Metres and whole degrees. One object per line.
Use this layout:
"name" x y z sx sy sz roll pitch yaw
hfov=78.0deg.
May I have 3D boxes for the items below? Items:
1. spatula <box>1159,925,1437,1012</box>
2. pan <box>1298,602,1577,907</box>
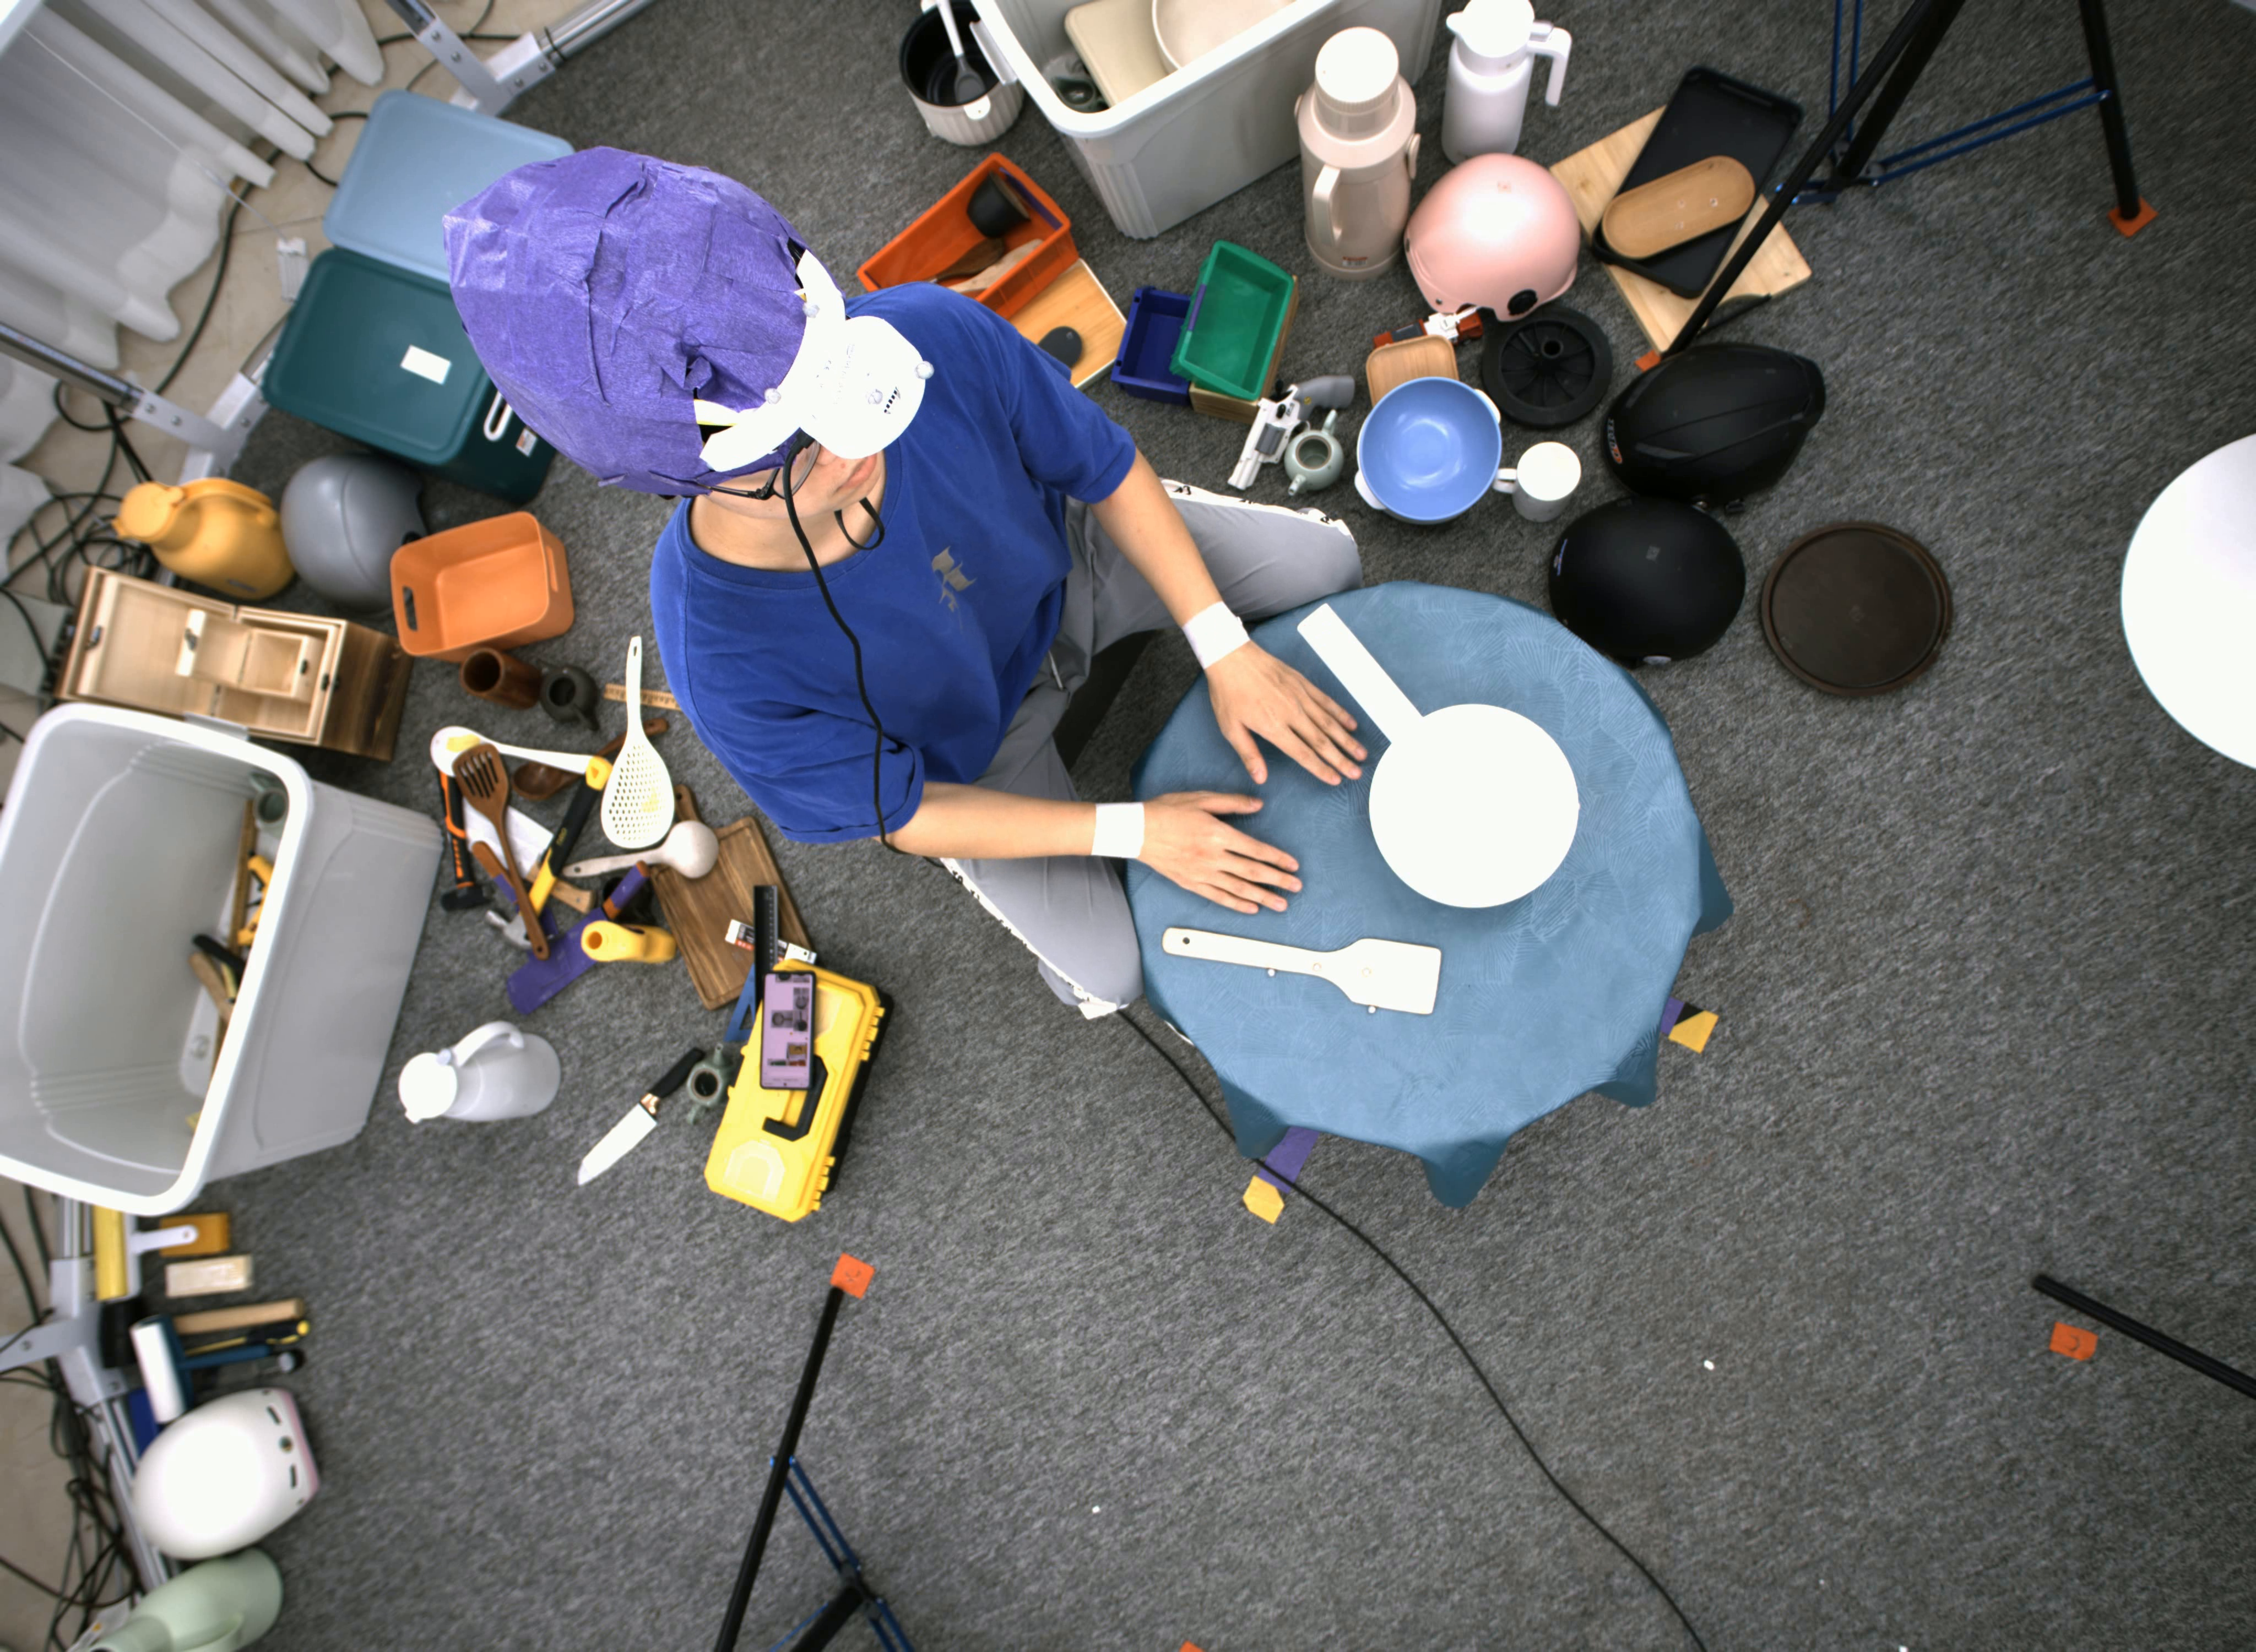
"spatula" 0.176 0.140 1.468 0.294 0.010 0.072 8 90 11
"pan" 0.301 -0.077 1.411 0.202 0.102 0.353 -40 81 8
